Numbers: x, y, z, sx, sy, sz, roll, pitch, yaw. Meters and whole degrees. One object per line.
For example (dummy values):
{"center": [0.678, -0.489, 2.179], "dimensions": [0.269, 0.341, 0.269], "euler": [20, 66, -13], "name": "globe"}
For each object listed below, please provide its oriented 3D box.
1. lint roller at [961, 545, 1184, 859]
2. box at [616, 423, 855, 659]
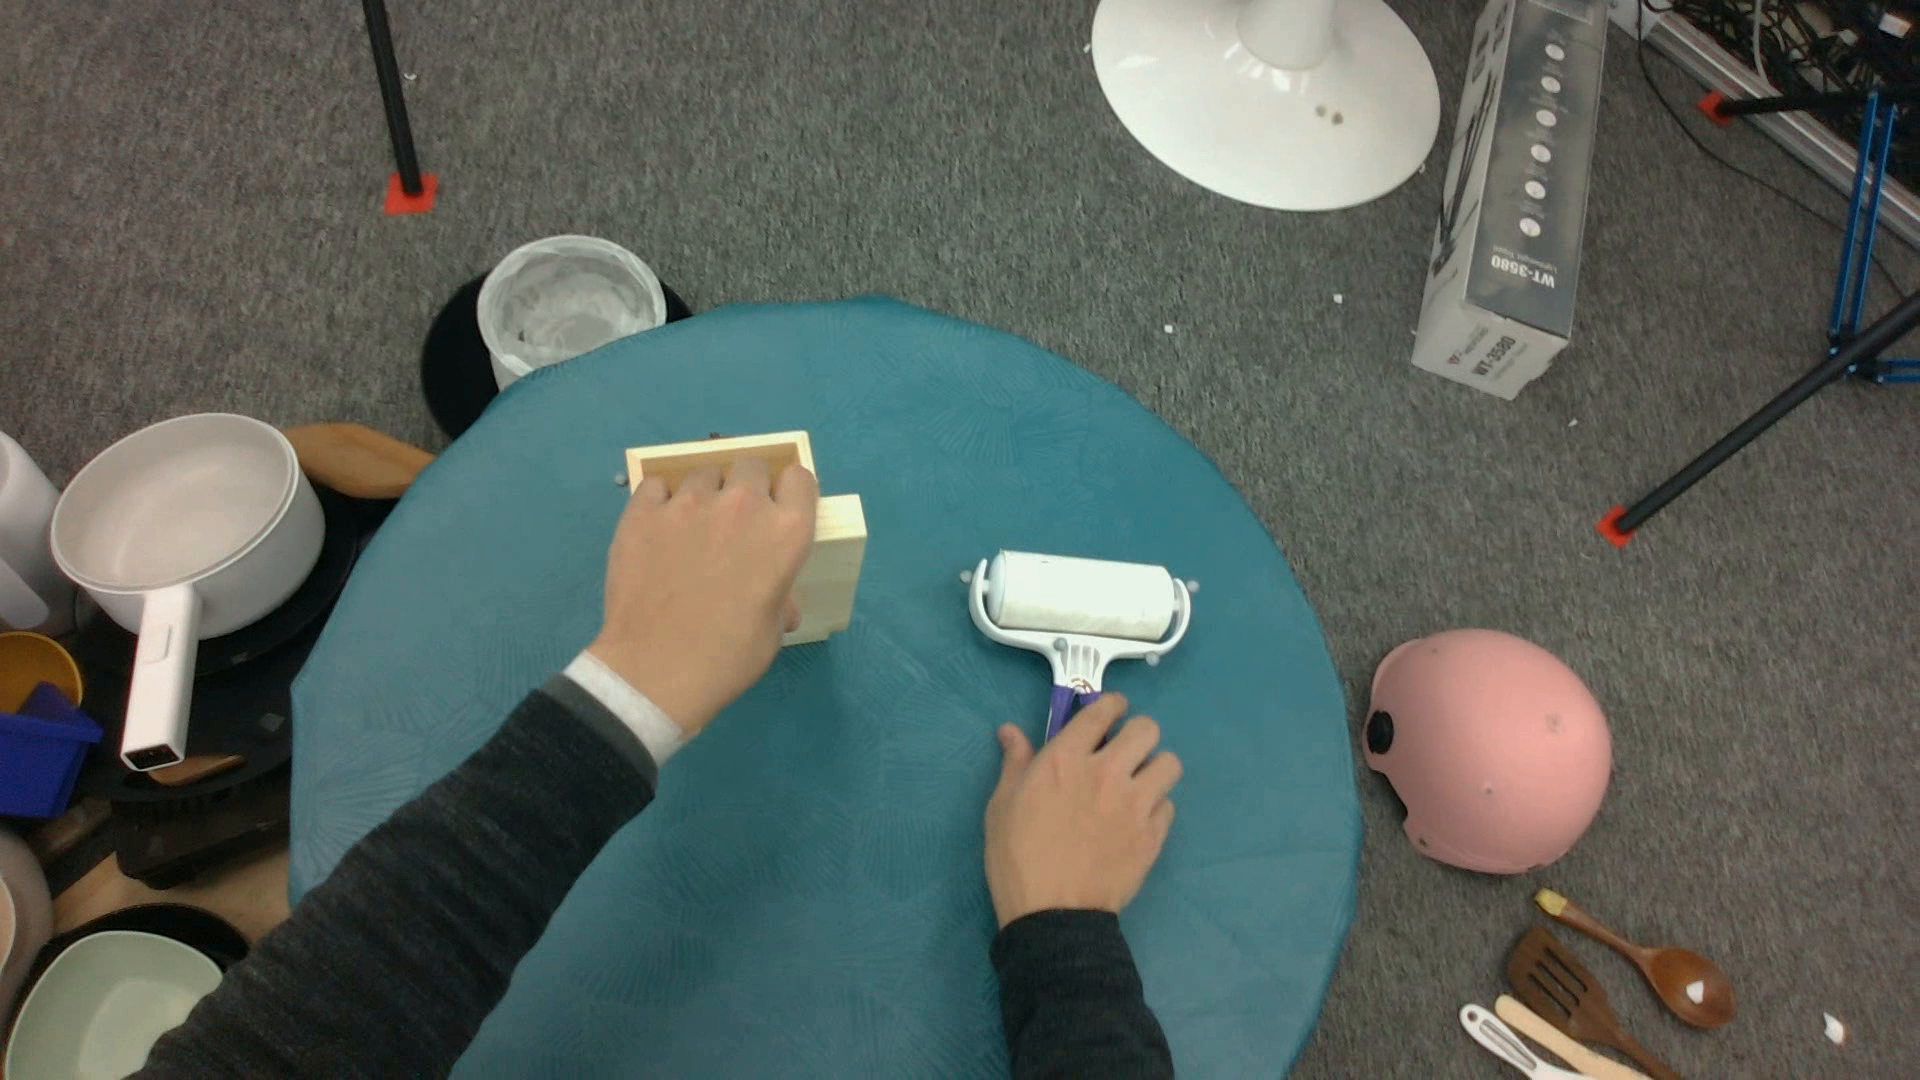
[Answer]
{"center": [0.064, 0.088, 0.791], "dimensions": [0.133, 0.050, 0.181], "euler": [8, 60, -8], "name": "lint roller"}
{"center": [-0.125, -0.014, 0.728], "dimensions": [0.103, 0.183, 0.134], "euler": [-8, 66, -15], "name": "box"}
